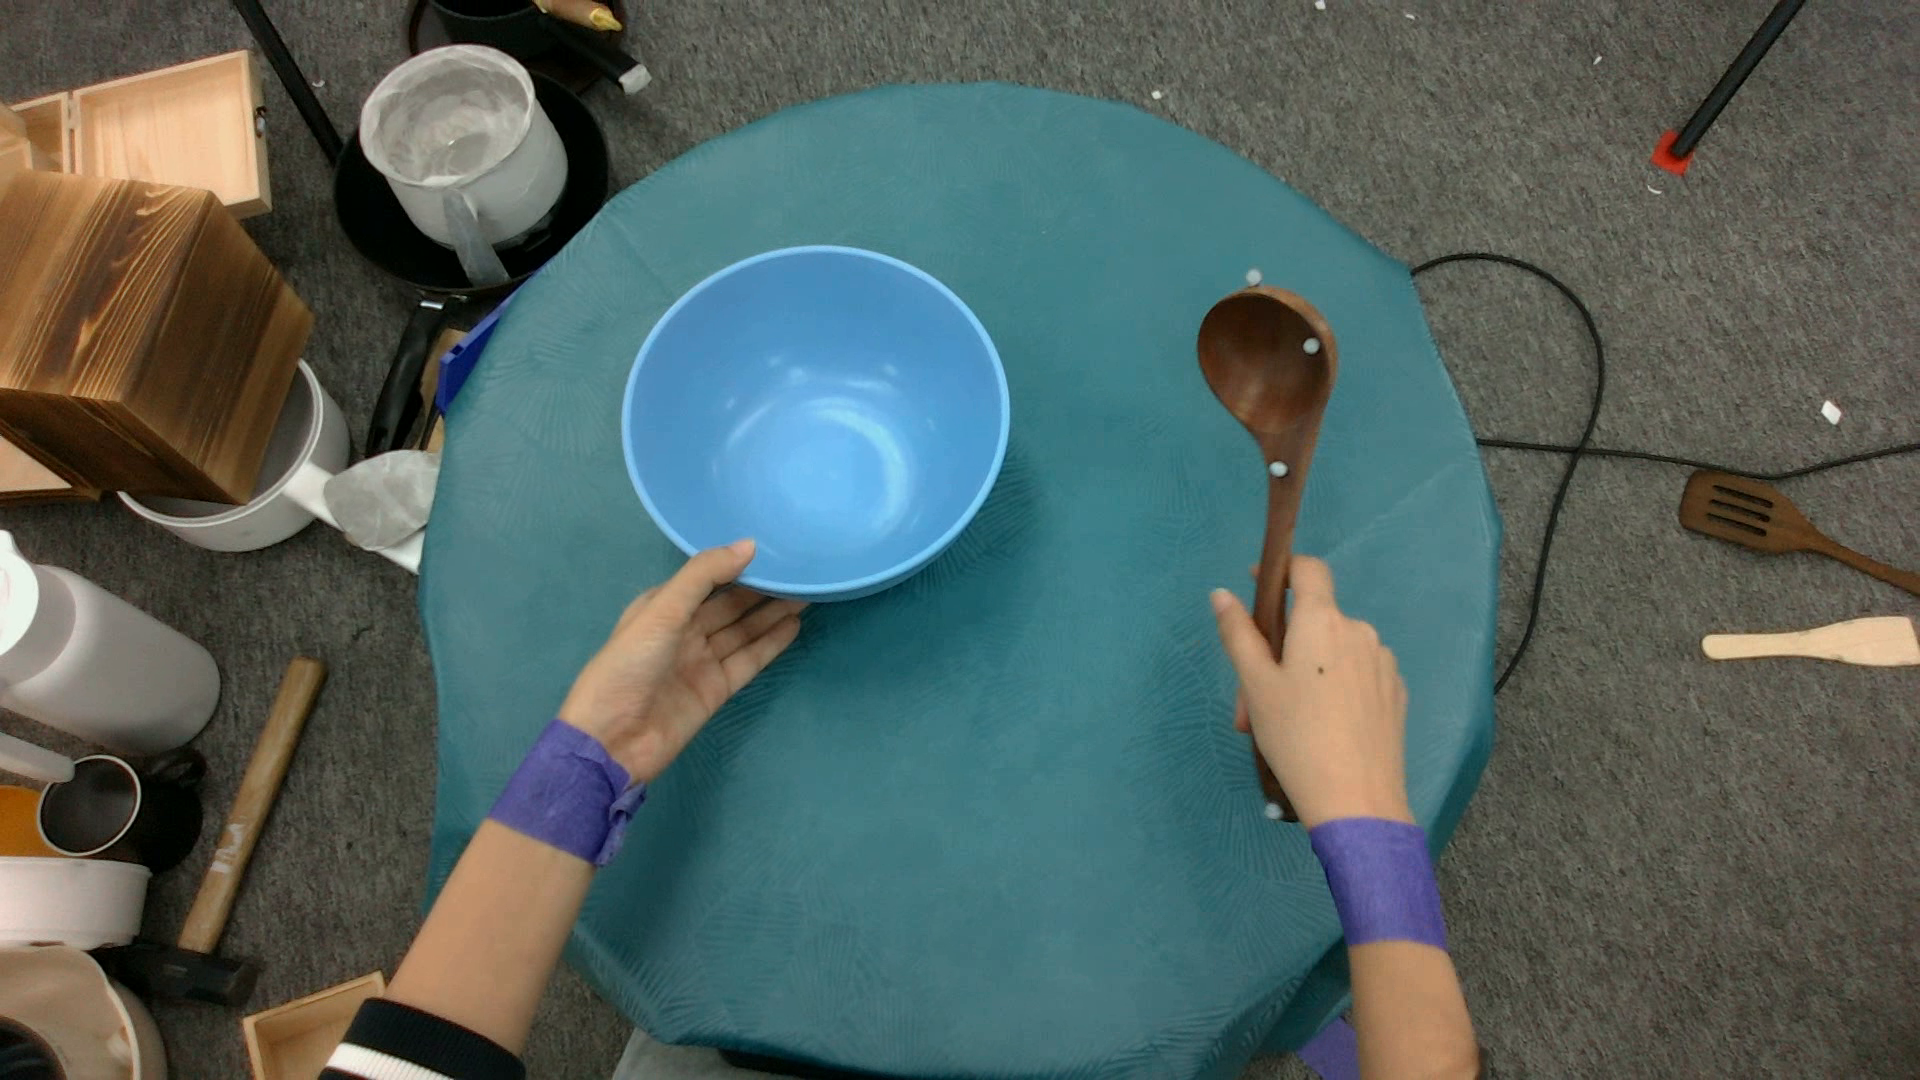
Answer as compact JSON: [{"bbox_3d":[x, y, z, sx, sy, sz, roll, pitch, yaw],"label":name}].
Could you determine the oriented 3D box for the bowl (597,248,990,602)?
[{"bbox_3d":[-0.087,-0.048,0.733,0.196,0.095,0.197,3,65,-6],"label":"bowl"}]

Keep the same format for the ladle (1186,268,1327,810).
[{"bbox_3d":[0.140,-0.003,0.665,0.065,0.076,0.260,11,77,-32],"label":"ladle"}]
